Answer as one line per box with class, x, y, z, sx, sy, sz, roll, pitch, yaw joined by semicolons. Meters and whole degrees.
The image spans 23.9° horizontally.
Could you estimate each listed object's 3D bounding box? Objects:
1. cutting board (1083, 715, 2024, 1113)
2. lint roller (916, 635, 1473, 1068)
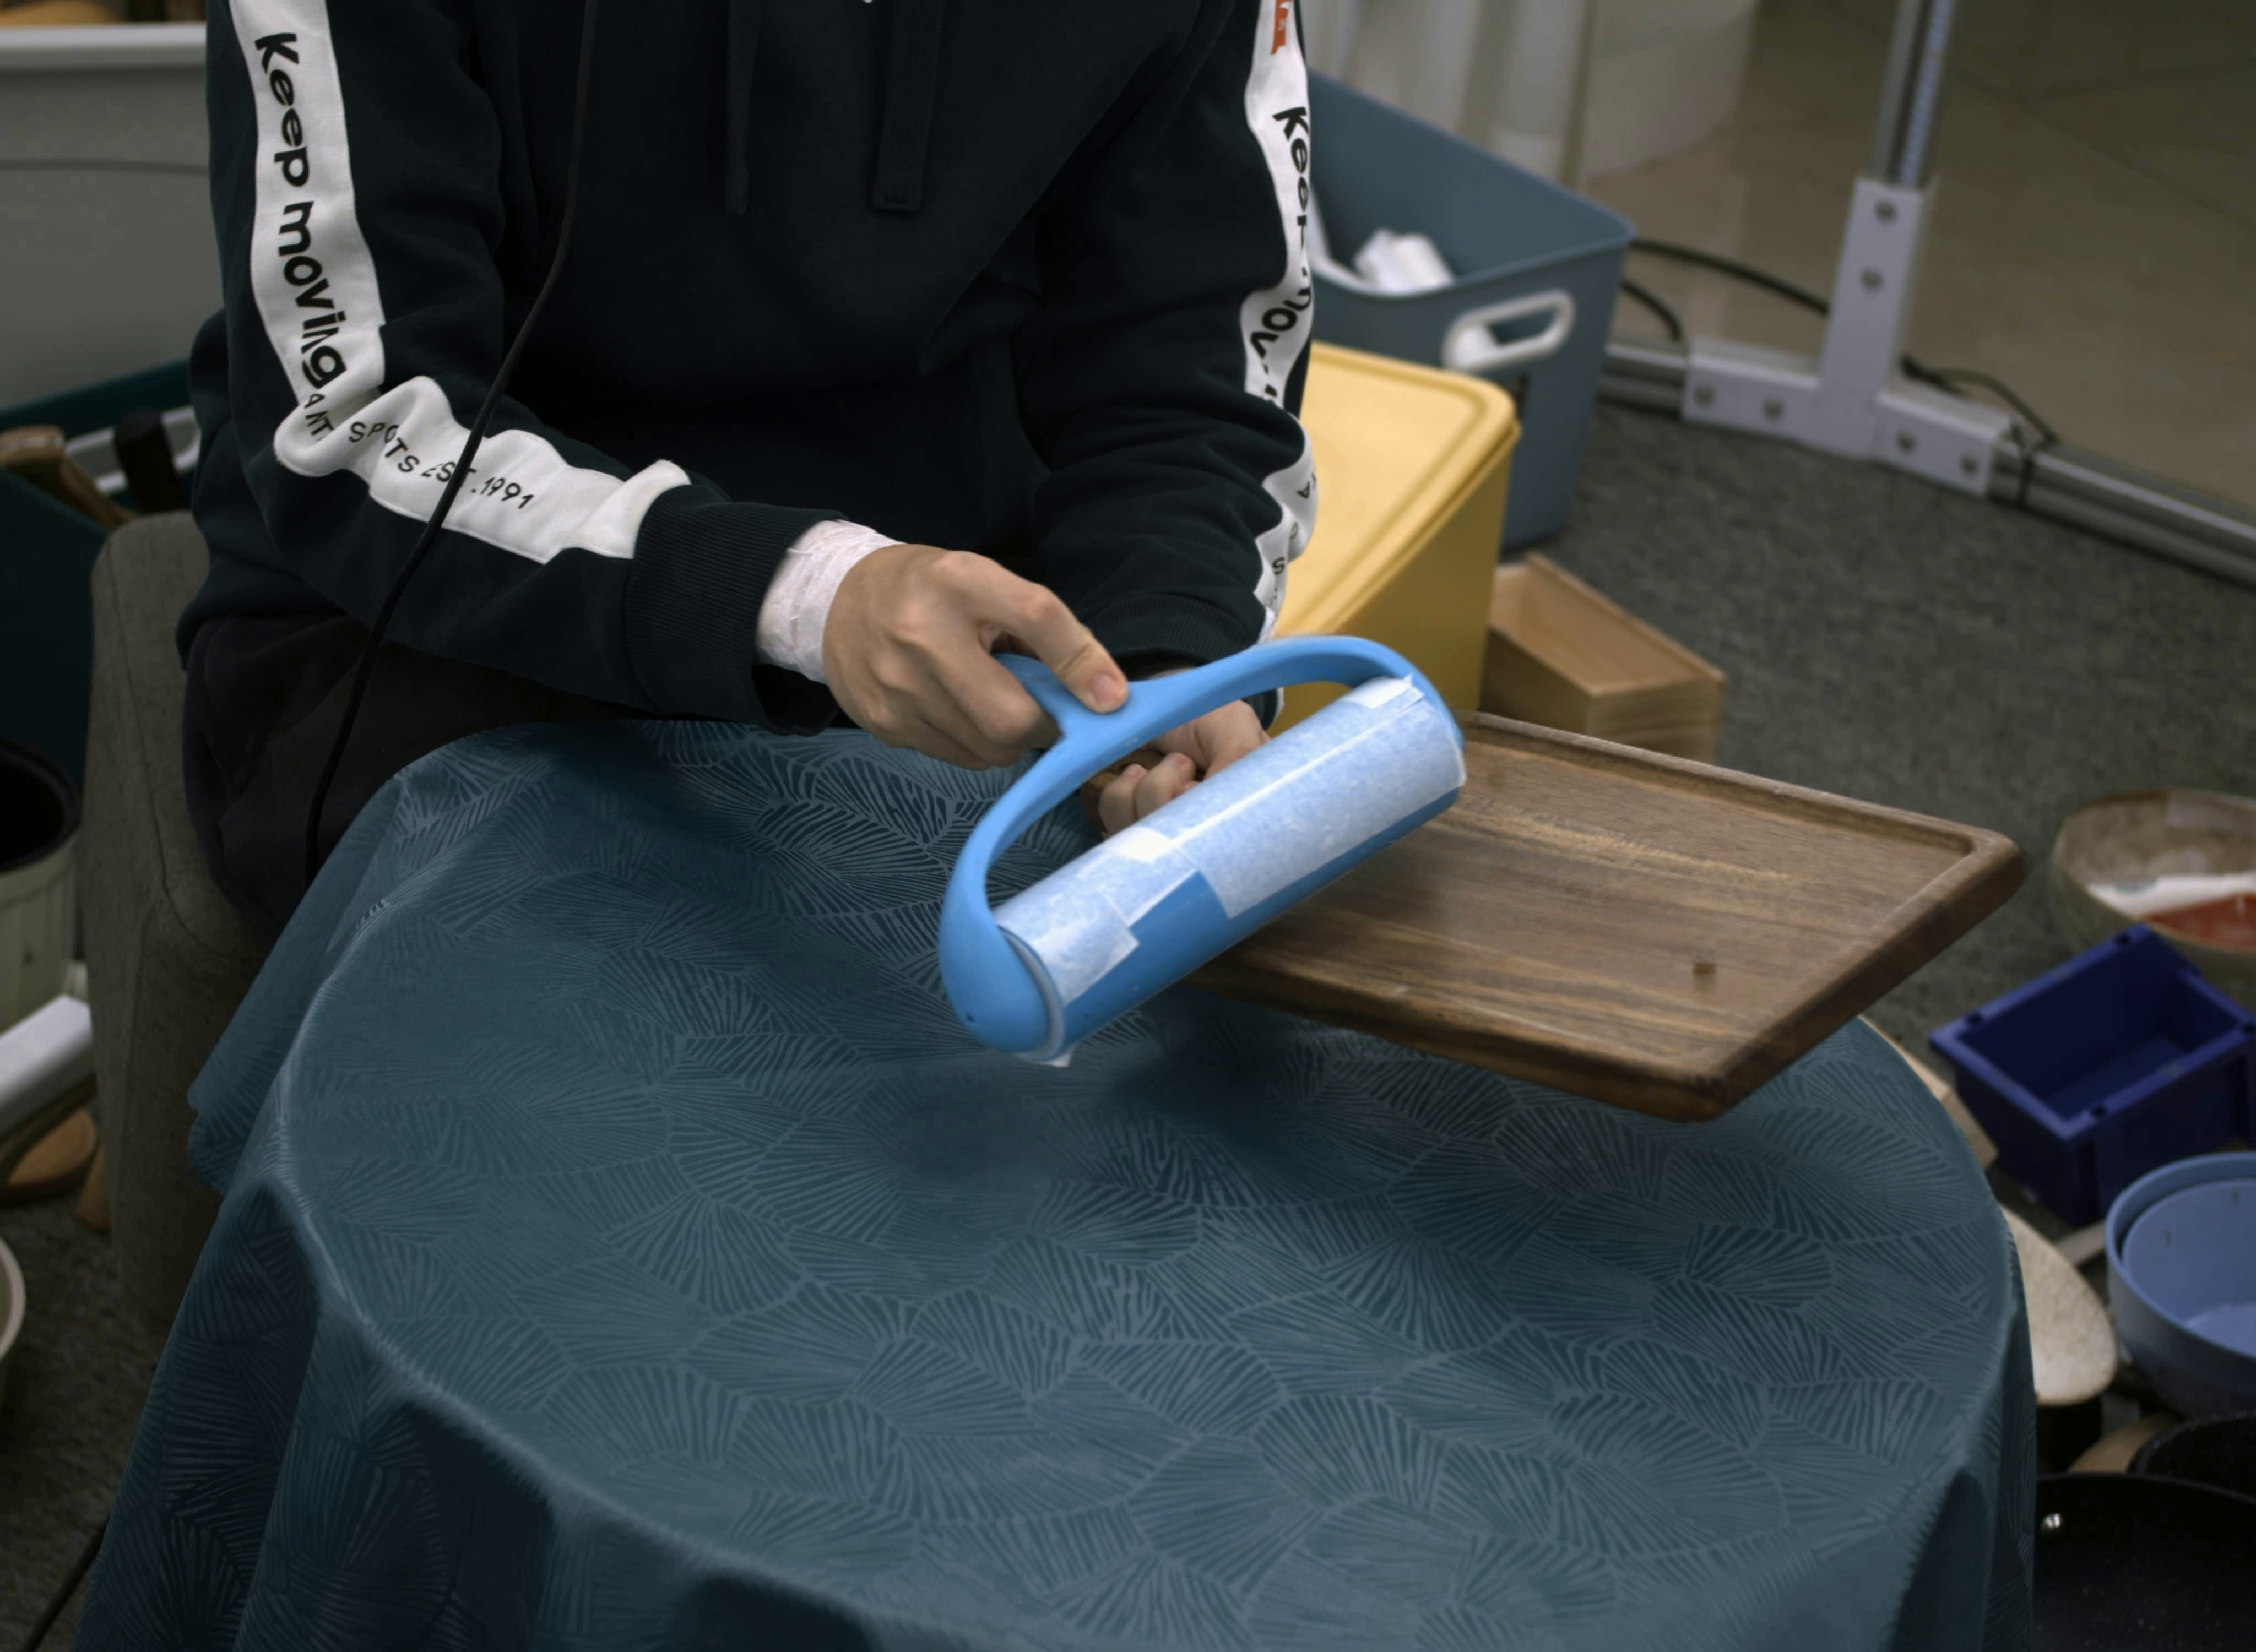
cutting board;0.118;0.017;1.875;0.354;0.023;0.200;14;32;40
lint roller;-0.009;-0.017;1.854;0.181;0.067;0.228;35;53;28
